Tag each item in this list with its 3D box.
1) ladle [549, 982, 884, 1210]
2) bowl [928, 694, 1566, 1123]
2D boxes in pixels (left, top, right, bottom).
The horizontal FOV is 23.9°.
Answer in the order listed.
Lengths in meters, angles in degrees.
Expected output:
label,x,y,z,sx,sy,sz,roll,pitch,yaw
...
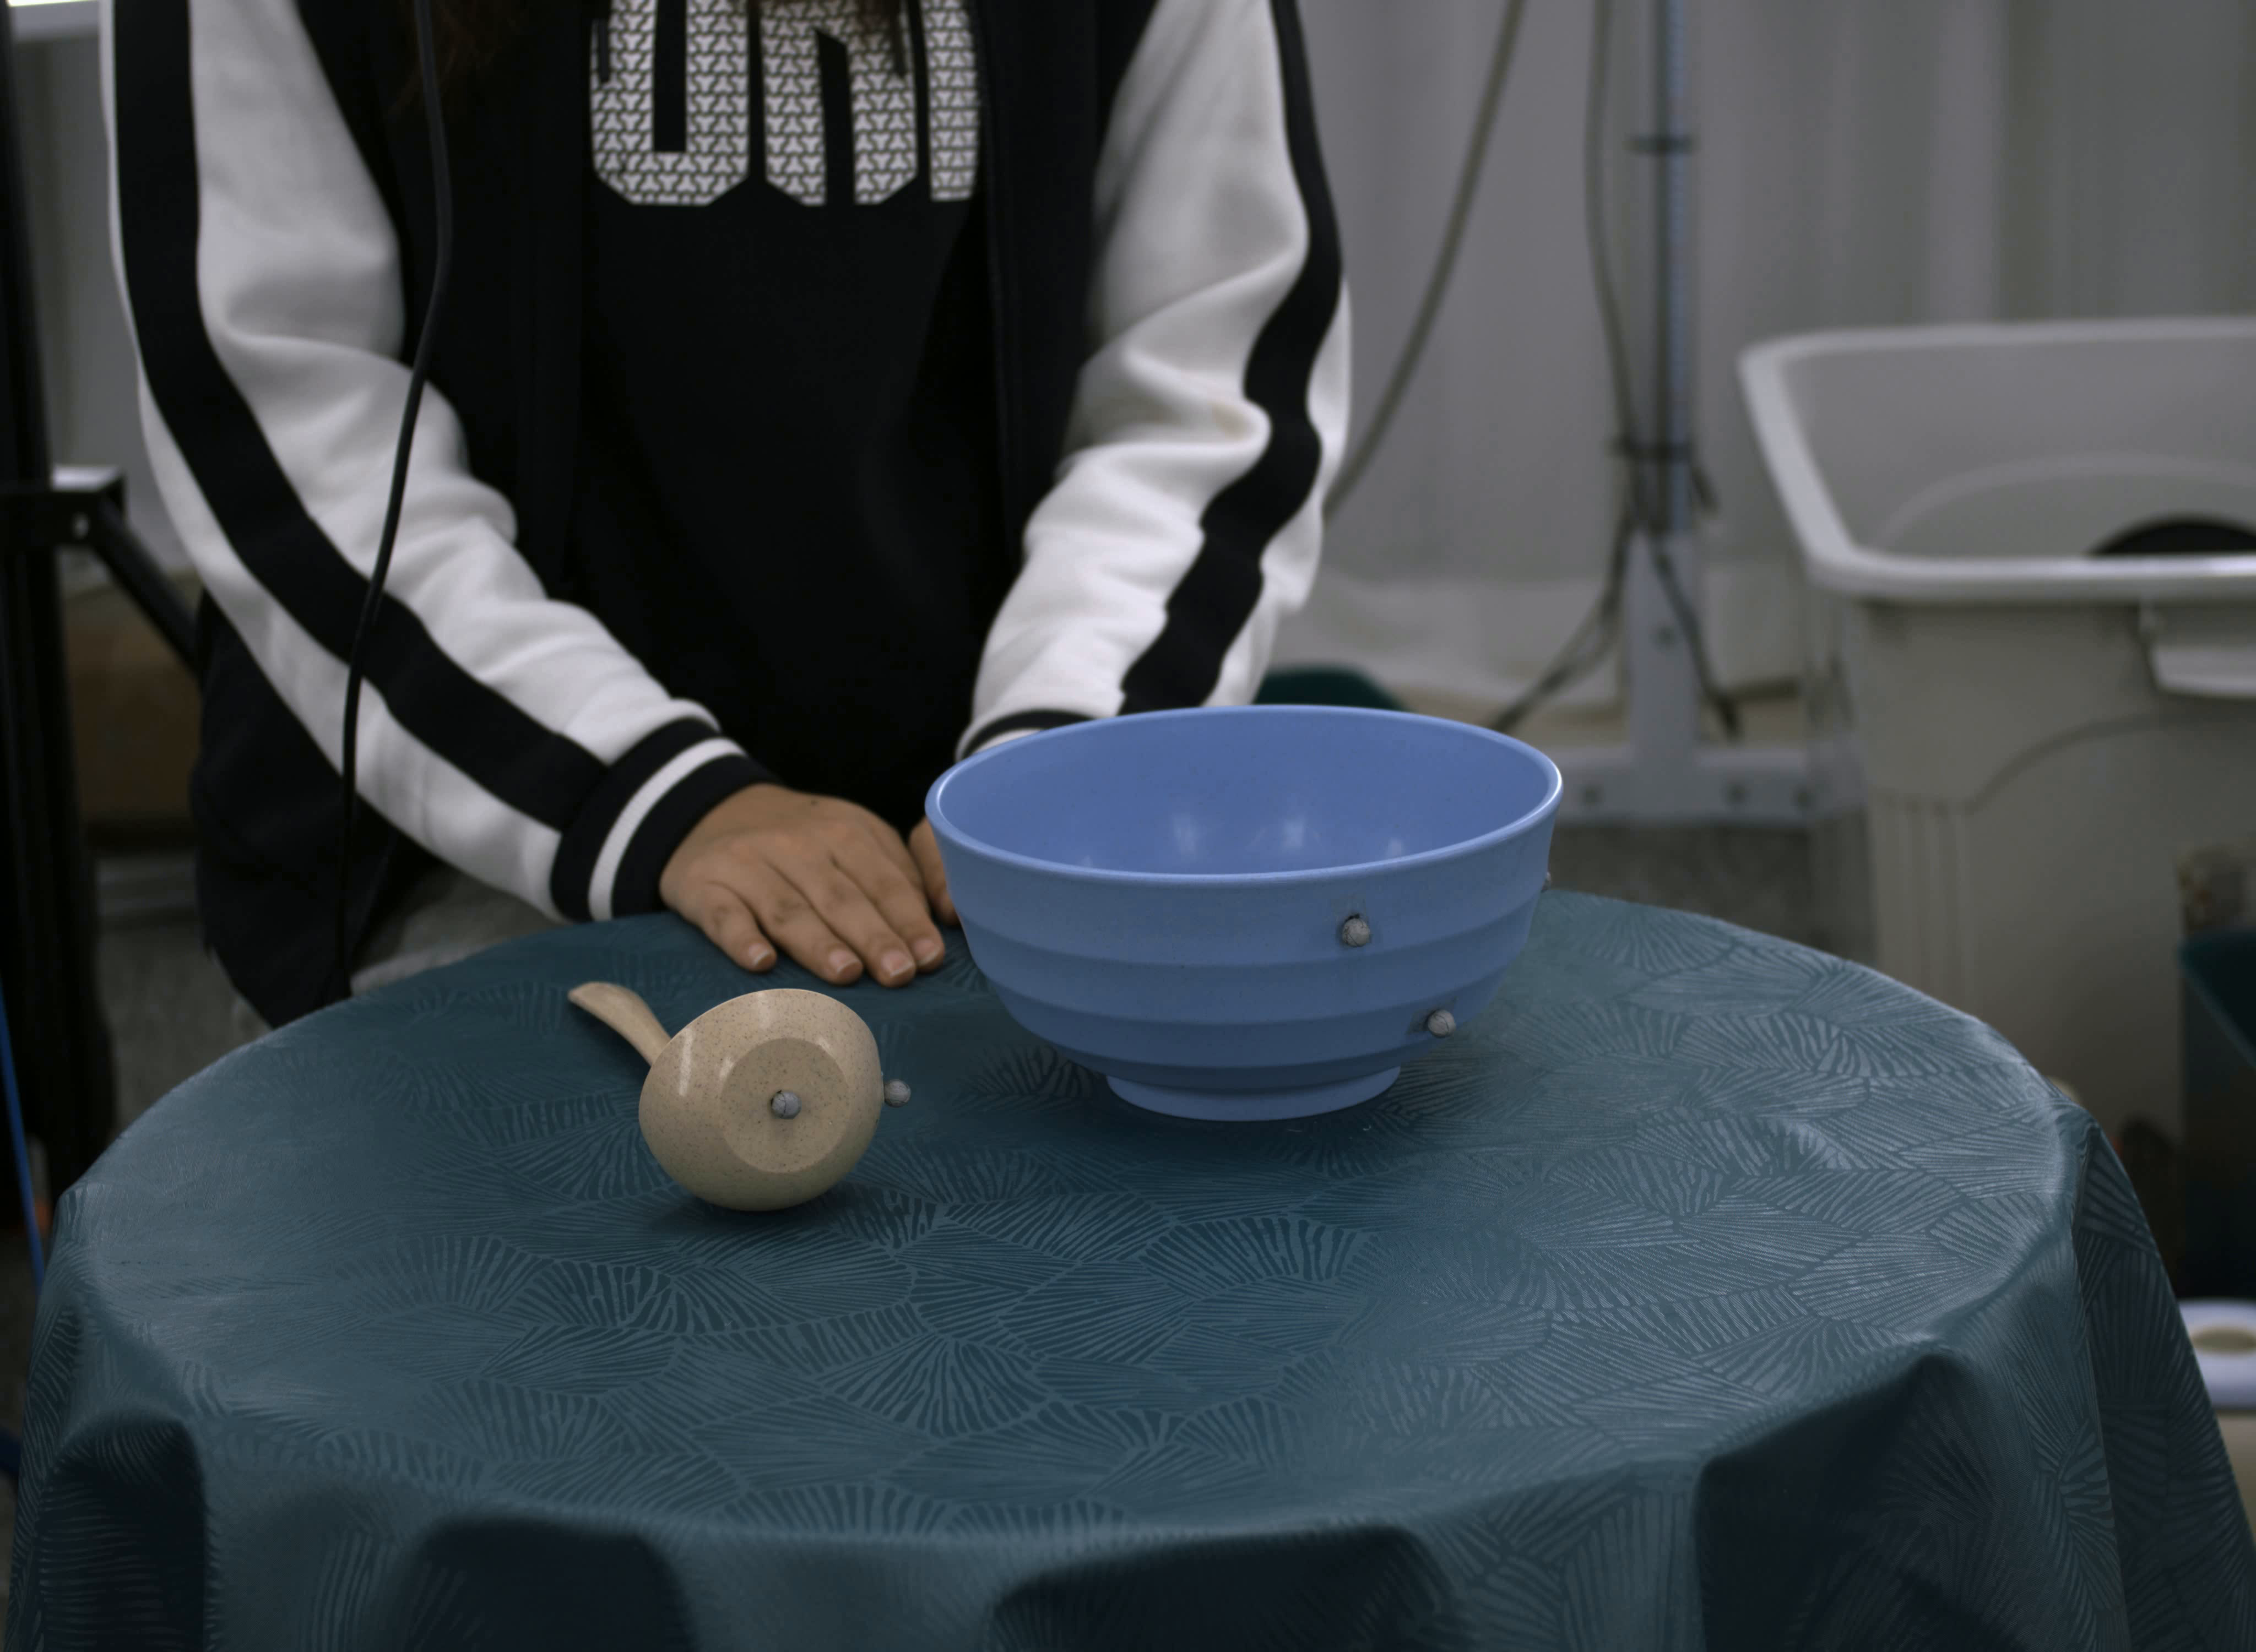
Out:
label,x,y,z,sx,sy,sz,roll,pitch,yaw
ladle,-0.140,0.053,1.641,0.071,0.073,0.259,-6,16,-19
bowl,0.037,0.032,1.645,0.195,0.095,0.197,-2,18,-1
